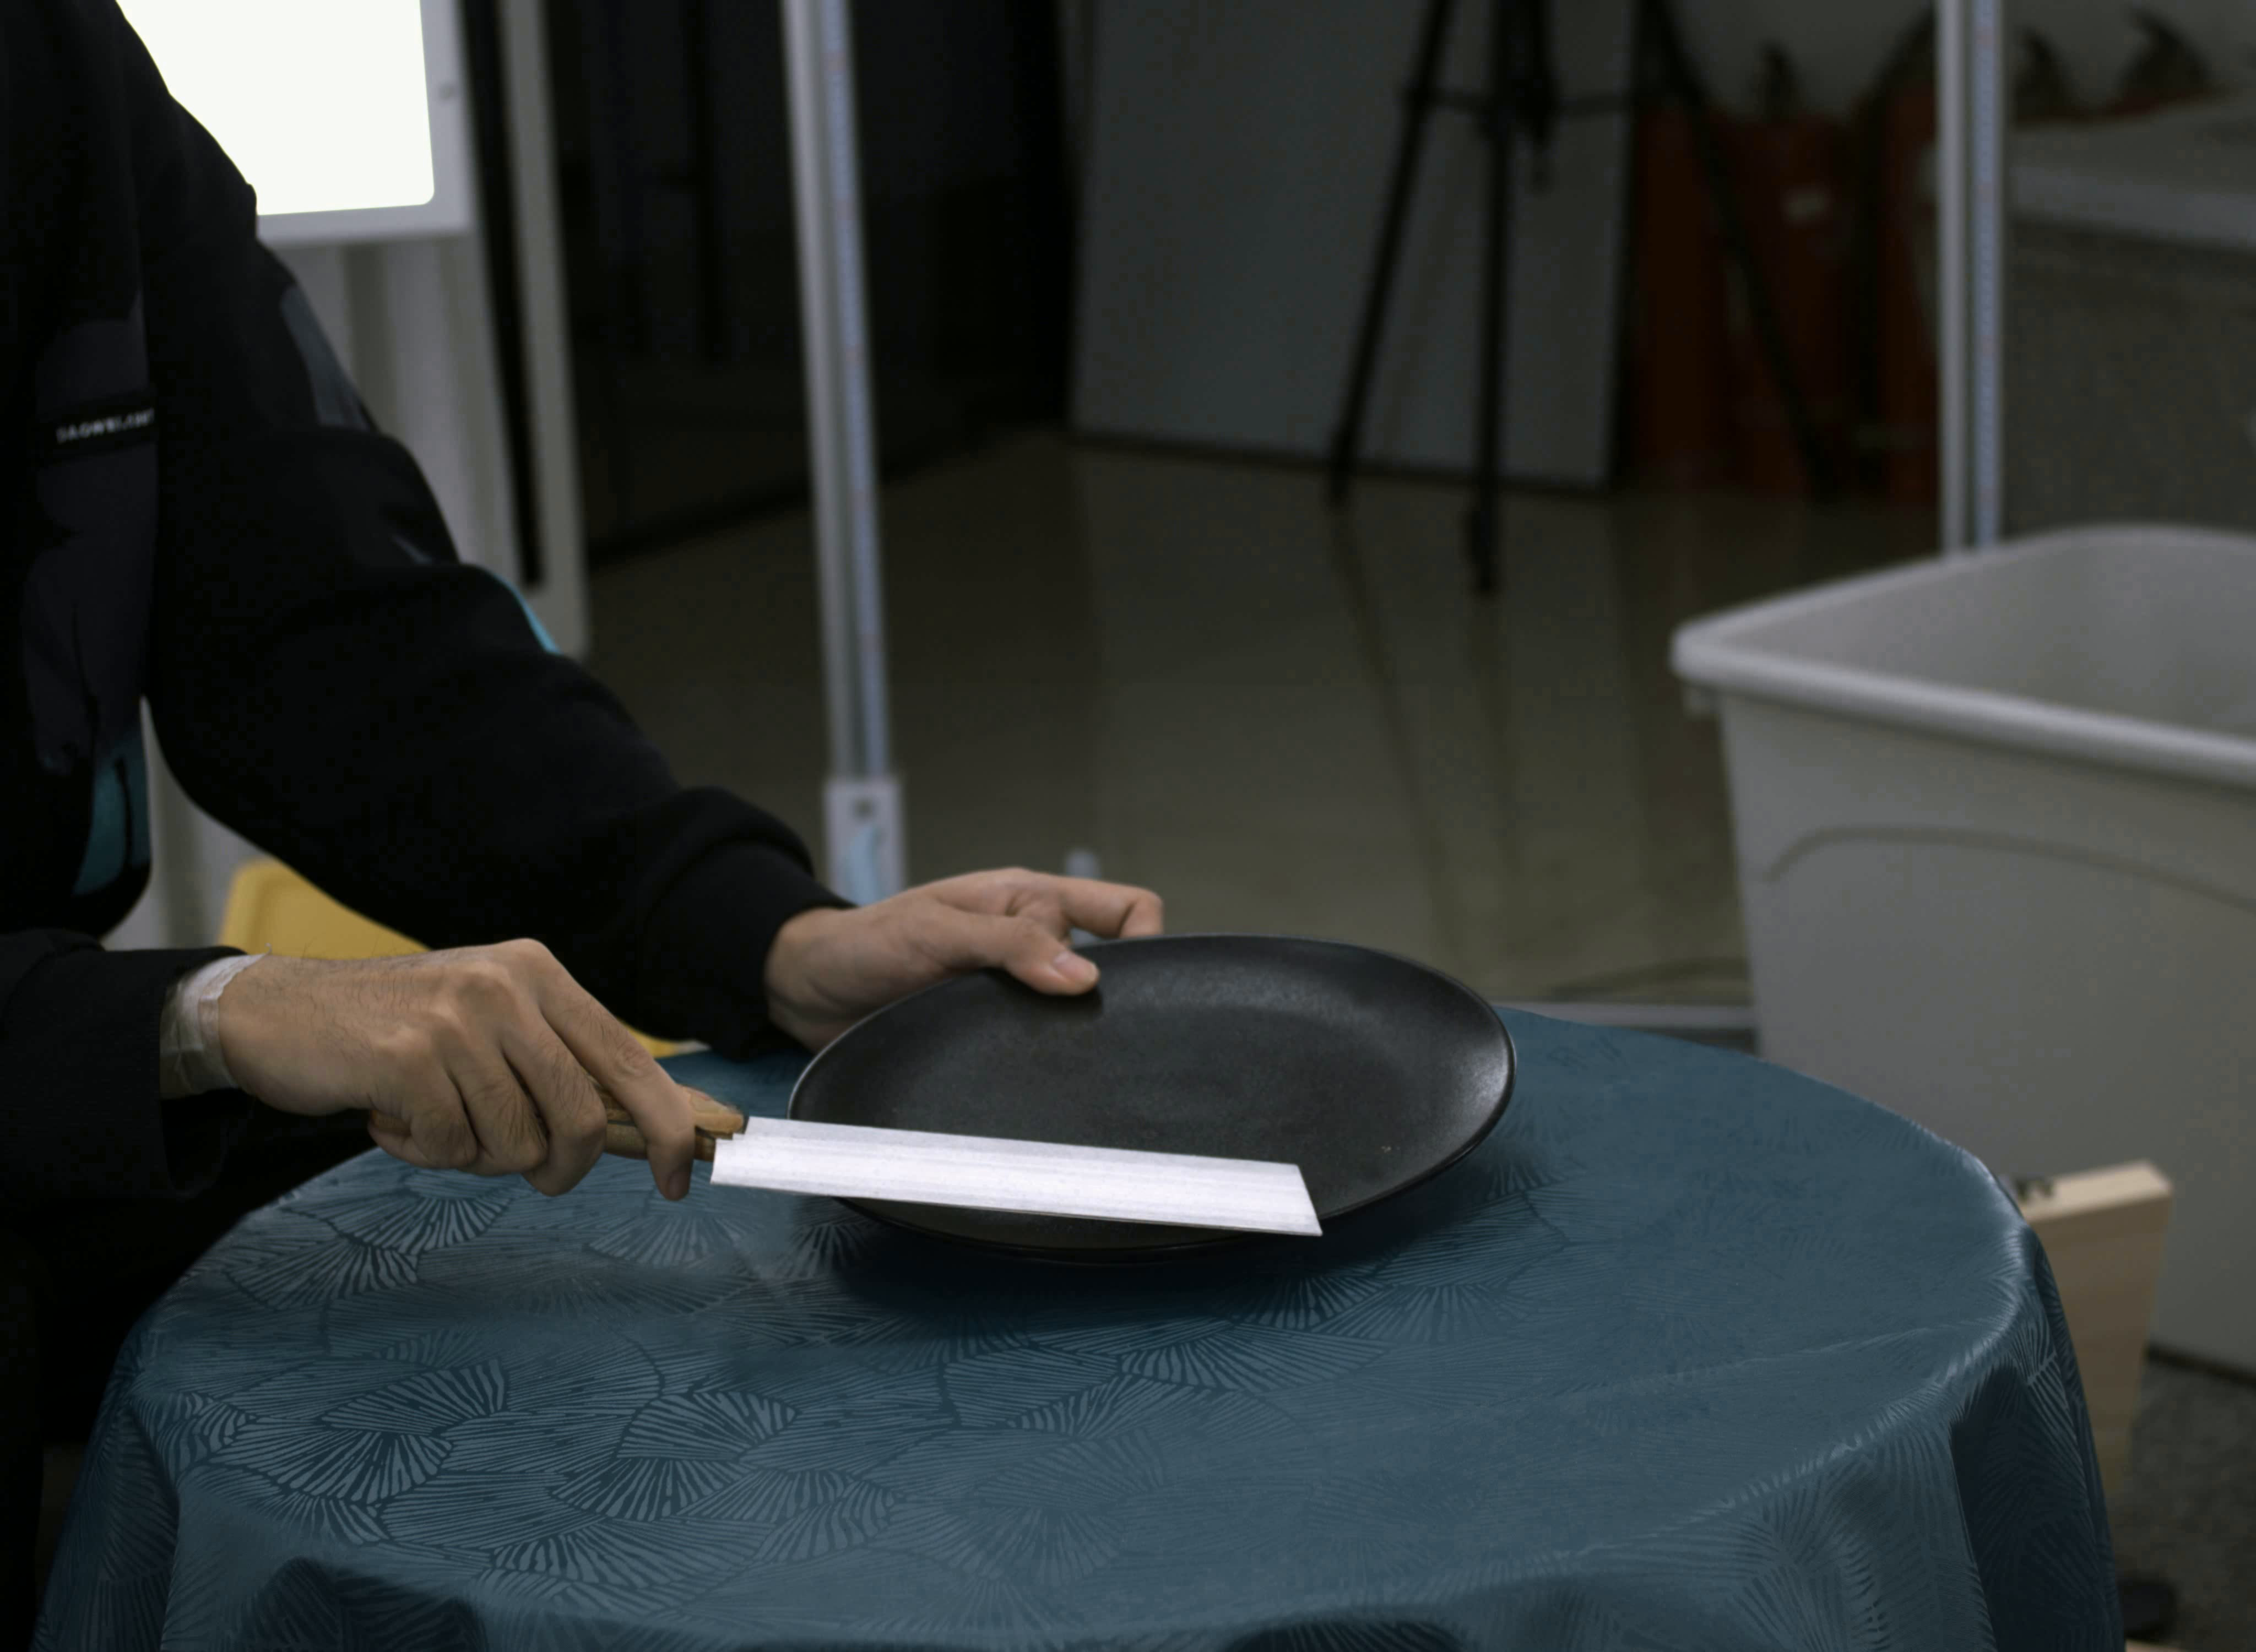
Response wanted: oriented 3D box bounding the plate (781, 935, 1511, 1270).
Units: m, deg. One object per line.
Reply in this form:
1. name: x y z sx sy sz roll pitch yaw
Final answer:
1. plate: 0.007 0.095 1.774 0.241 0.023 0.245 -6 22 2

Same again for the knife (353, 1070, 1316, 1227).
1. knife: -0.092 0.104 1.682 0.301 0.021 0.093 5 10 -2
